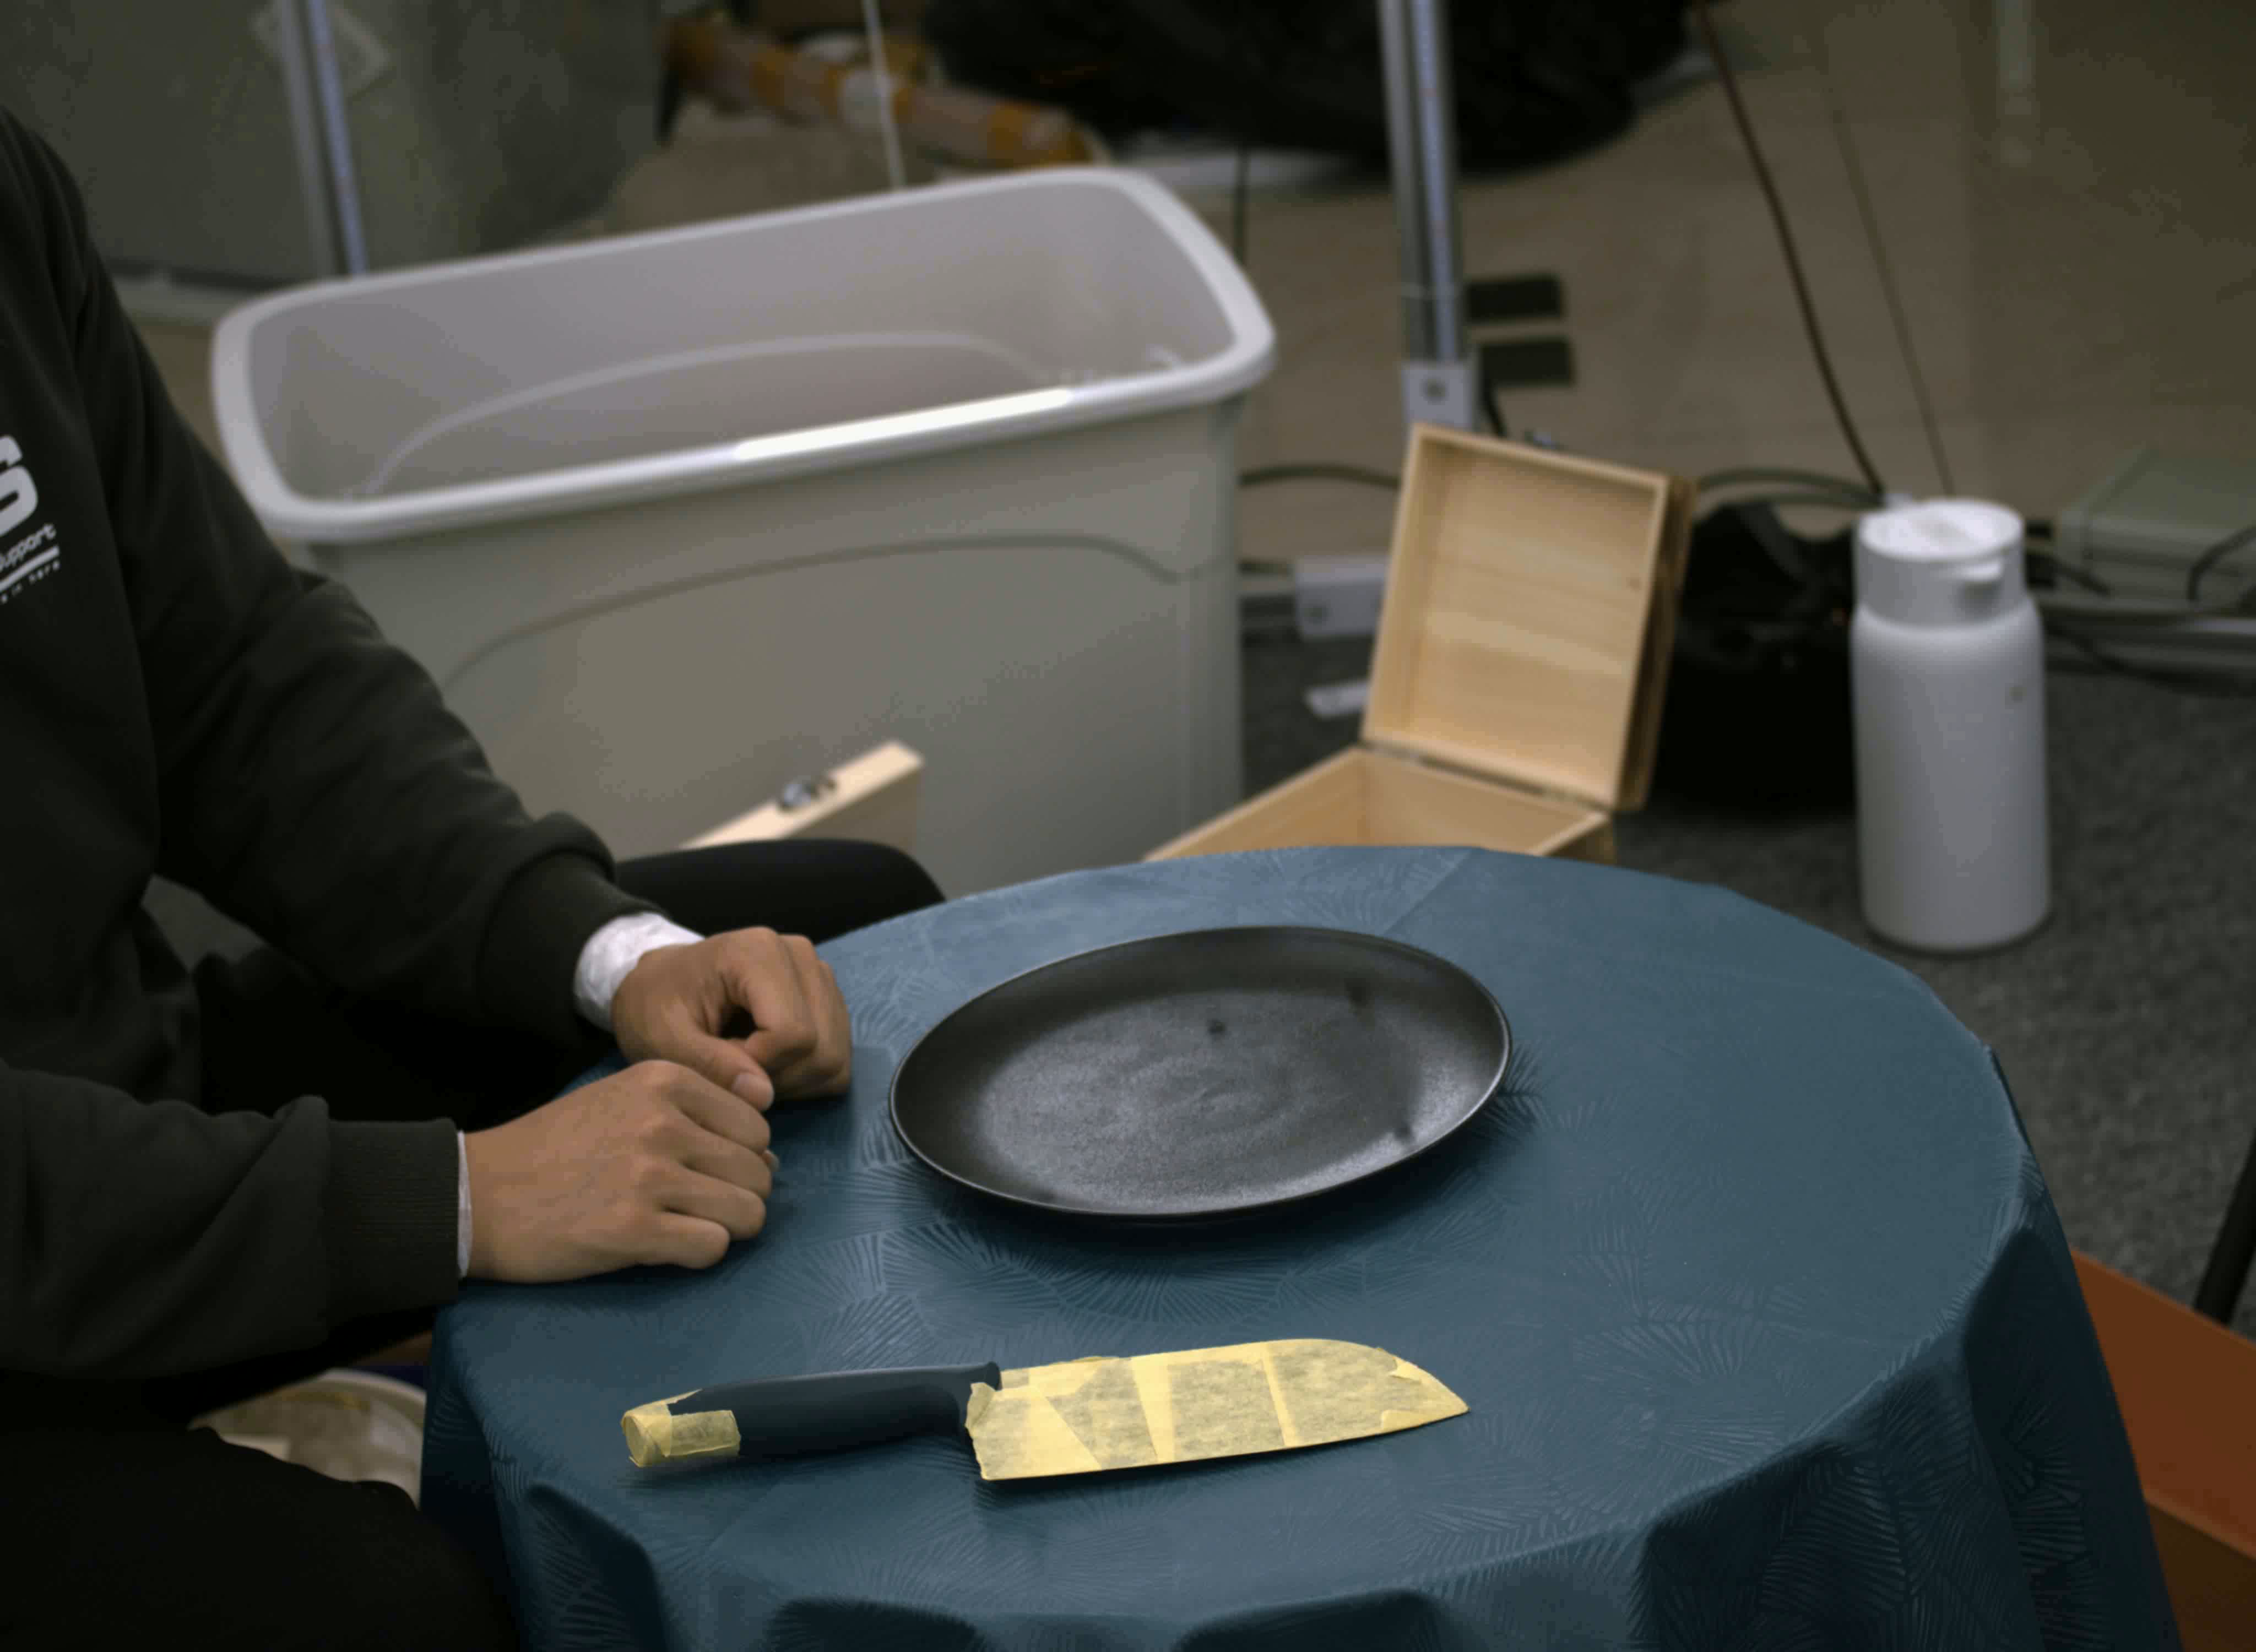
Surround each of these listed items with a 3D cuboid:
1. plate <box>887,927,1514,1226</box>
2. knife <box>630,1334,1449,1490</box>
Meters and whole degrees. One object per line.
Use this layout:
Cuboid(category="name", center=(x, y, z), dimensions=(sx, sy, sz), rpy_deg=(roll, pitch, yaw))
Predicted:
Cuboid(category="plate", center=(0.029, 0.102, 2.197), dimensions=(0.244, 0.024, 0.241), rpy_deg=(-5, 25, 3))
Cuboid(category="knife", center=(-0.031, 0.209, 1.991), dimensions=(0.289, 0.027, 0.080), rpy_deg=(-6, 23, -2))
